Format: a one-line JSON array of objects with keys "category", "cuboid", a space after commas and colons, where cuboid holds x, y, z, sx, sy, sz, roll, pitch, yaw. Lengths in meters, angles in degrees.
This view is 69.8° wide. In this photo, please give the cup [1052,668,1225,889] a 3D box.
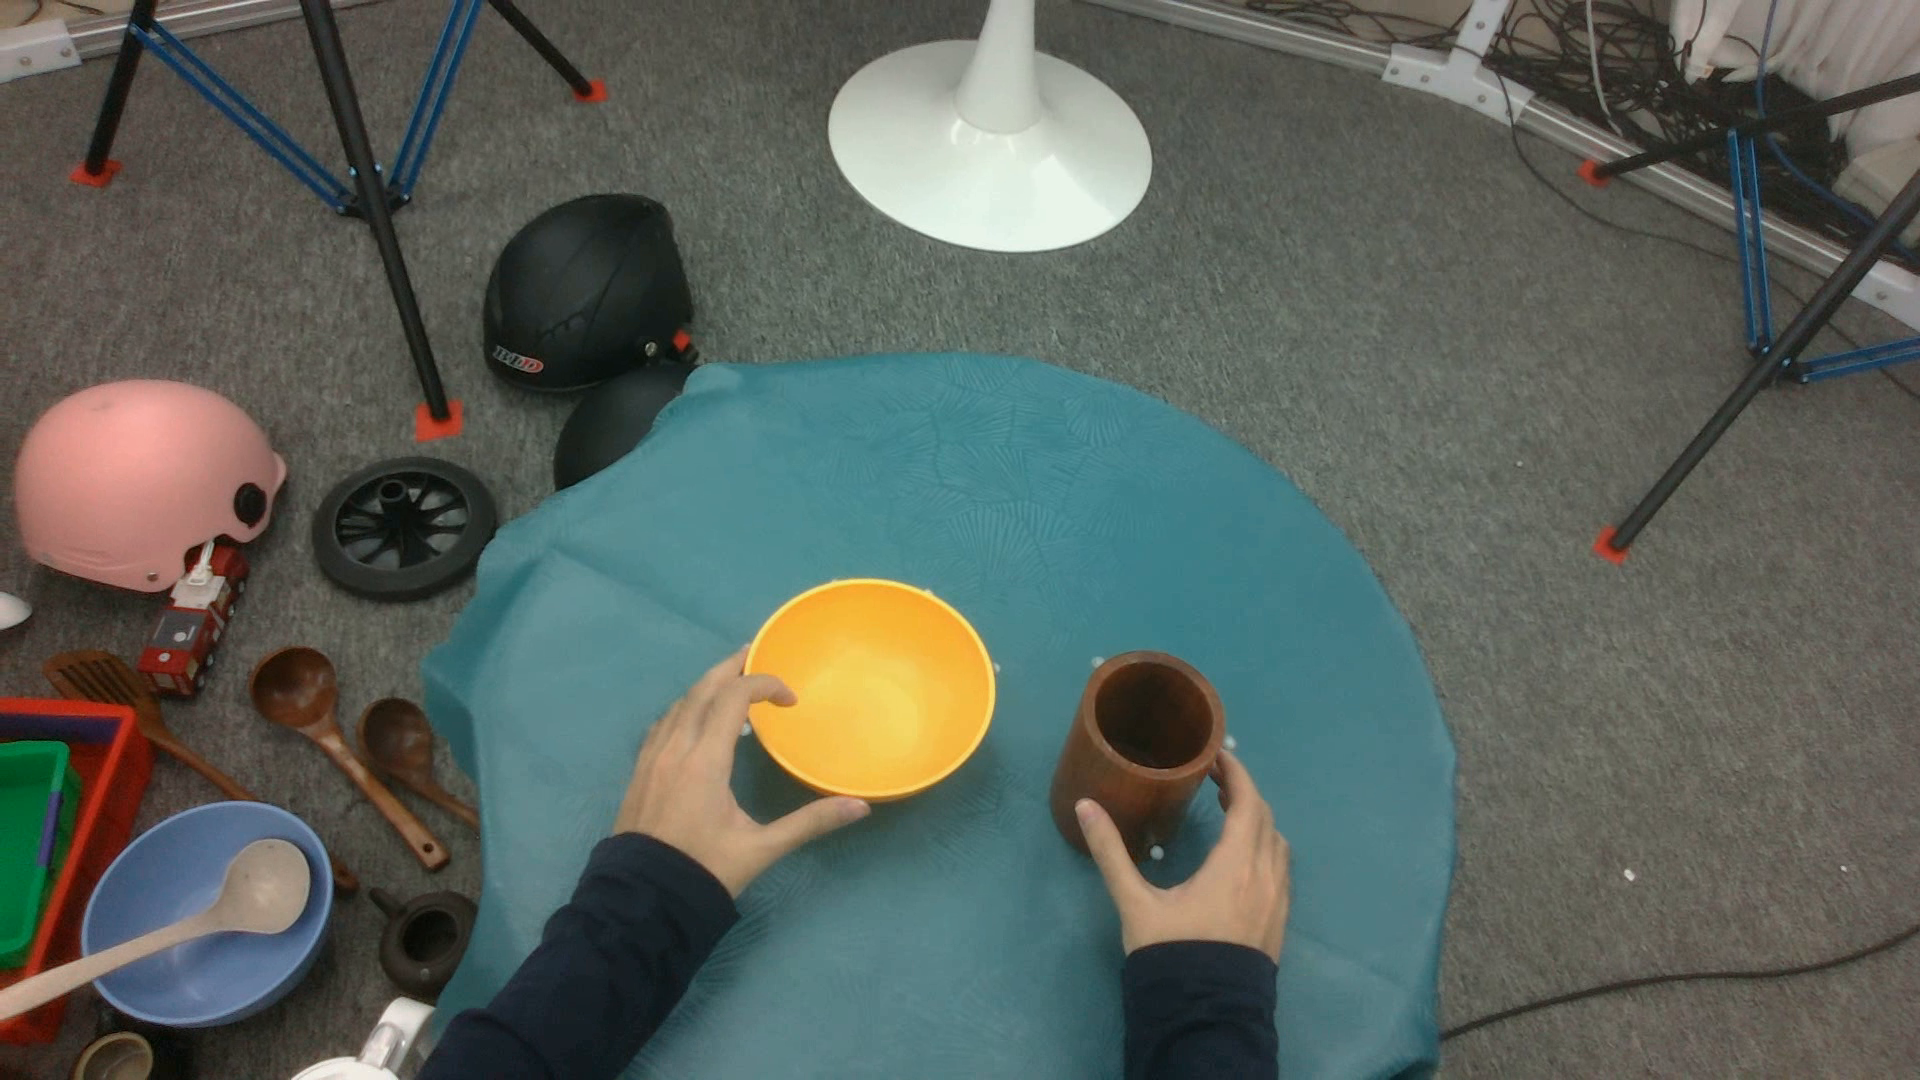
[{"category": "cup", "cuboid": [0.099, 0.139, 0.789, 0.088, 0.118, 0.088, 2, 51, -2]}]

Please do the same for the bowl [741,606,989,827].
[{"category": "bowl", "cuboid": [-0.057, 0.114, 0.823, 0.145, 0.060, 0.146, 4, 52, -4]}]
